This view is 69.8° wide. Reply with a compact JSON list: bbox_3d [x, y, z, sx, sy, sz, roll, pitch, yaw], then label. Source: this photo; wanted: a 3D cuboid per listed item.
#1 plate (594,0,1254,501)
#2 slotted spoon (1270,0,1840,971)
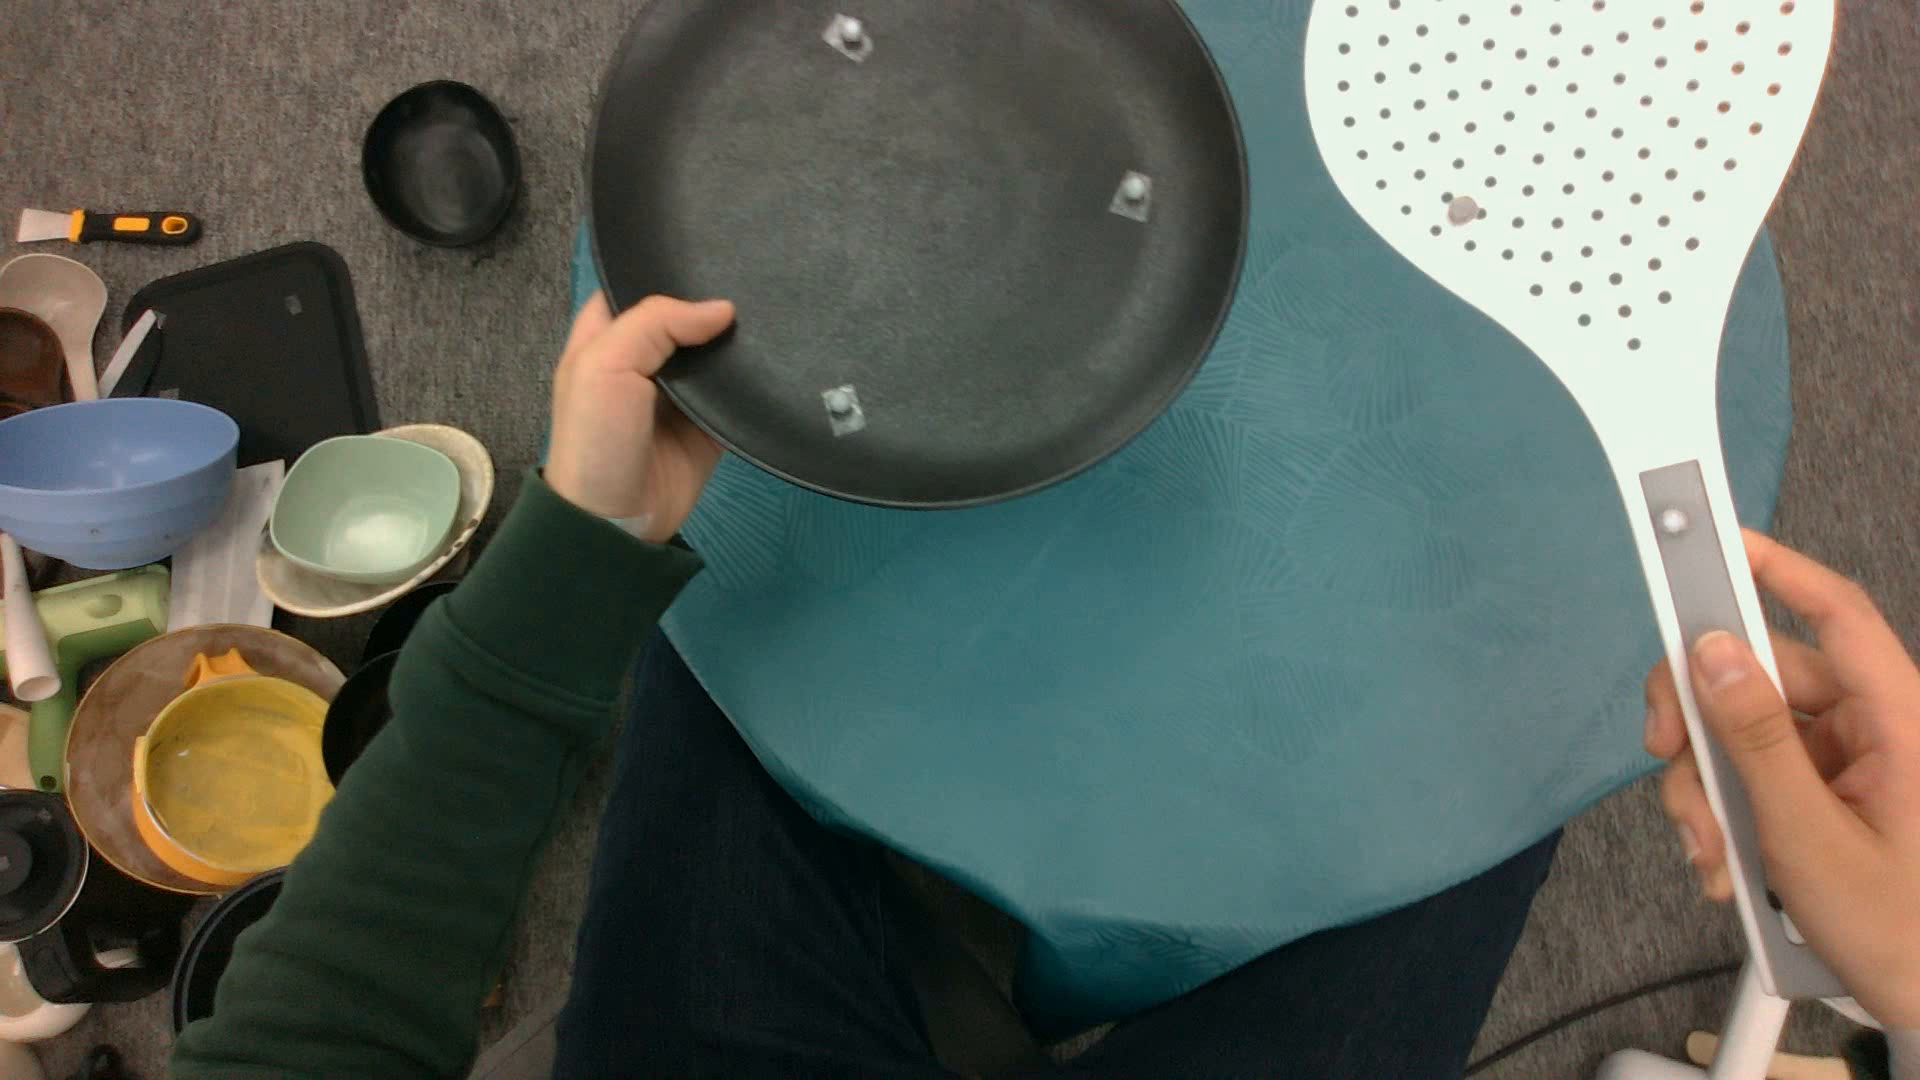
[{"bbox_3d":[-0.012,-0.131,0.518,0.244,0.023,0.245,0,79,-2],"label":"plate"},{"bbox_3d":[0.189,-0.042,0.389,0.135,0.046,0.349,-16,90,34],"label":"slotted spoon"}]
